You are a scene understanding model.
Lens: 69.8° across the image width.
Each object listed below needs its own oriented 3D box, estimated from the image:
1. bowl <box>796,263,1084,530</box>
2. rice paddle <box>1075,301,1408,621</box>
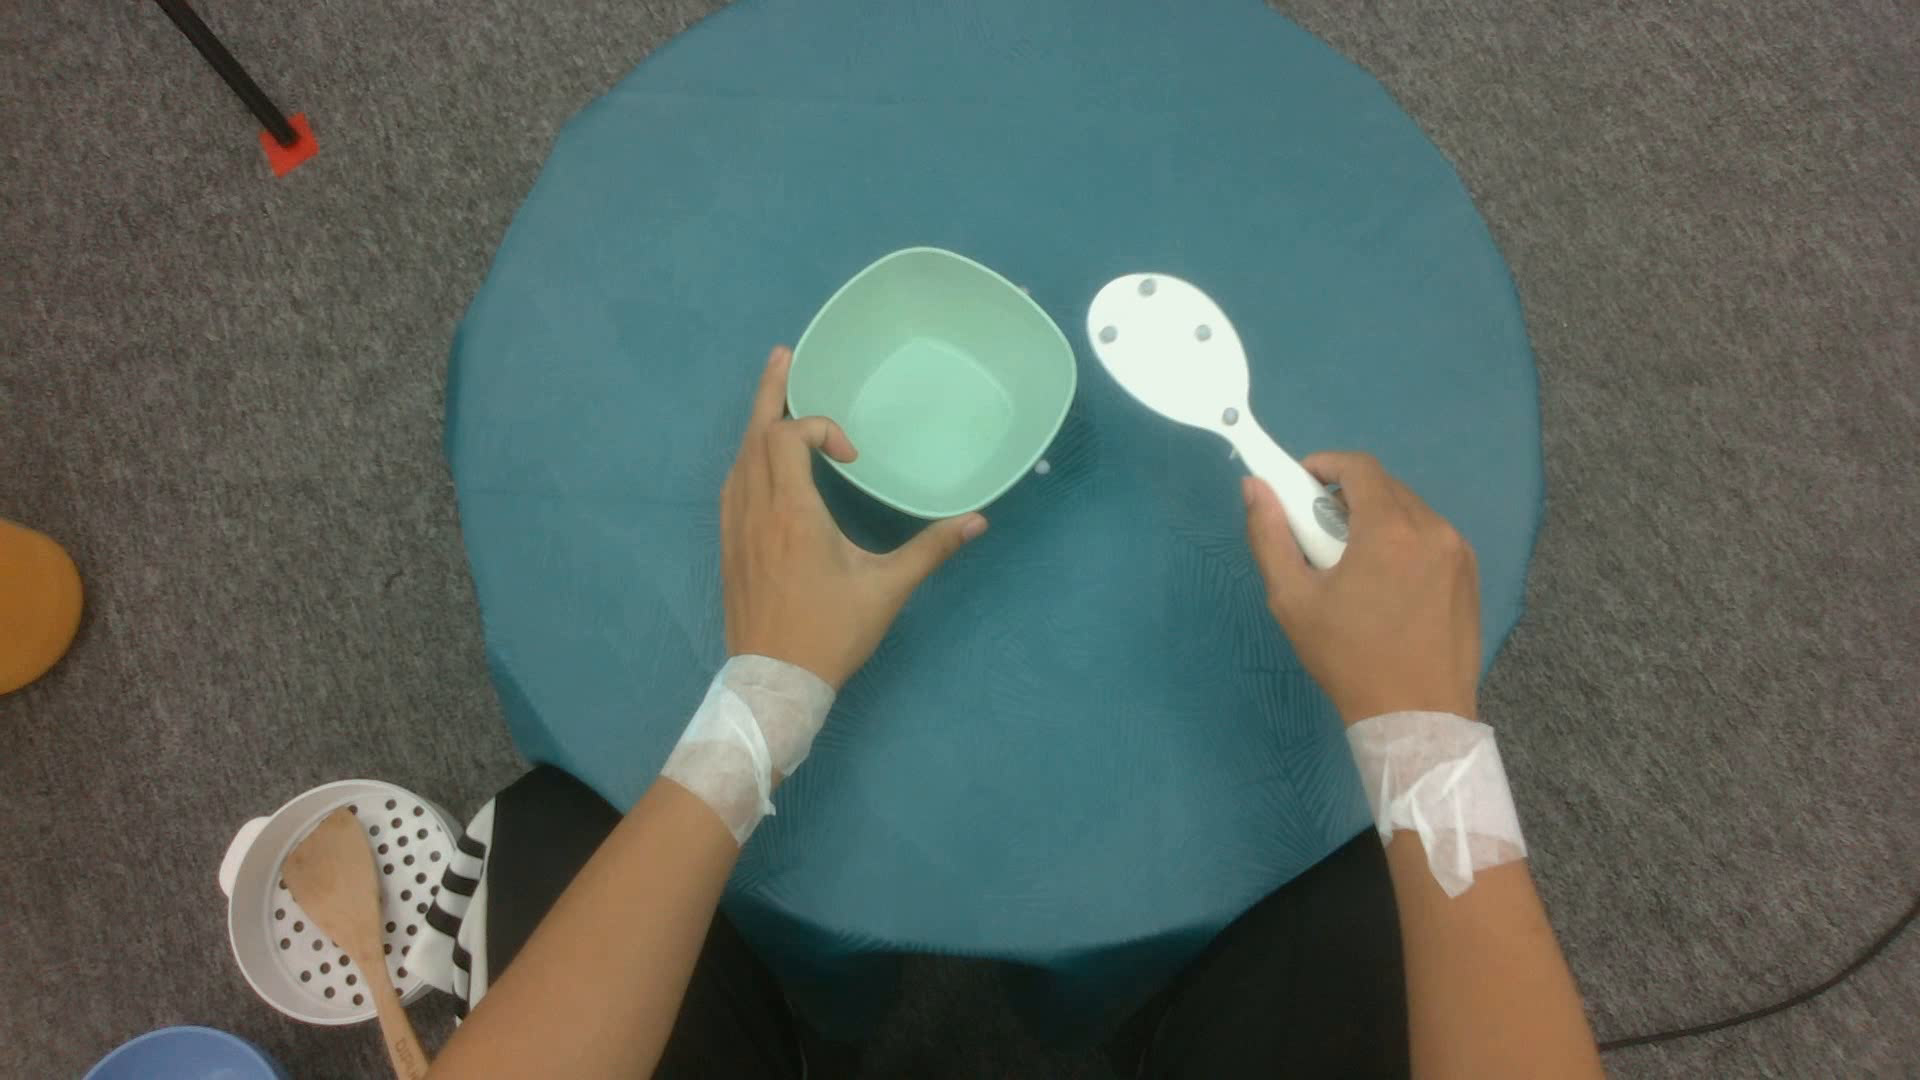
[{"bbox_3d":[-0.011,-0.070,0.747,0.151,0.058,0.152,1,72,-2],"label":"bowl"},{"bbox_3d":[0.131,-0.046,0.664,0.069,0.029,0.205,-33,68,-19],"label":"rice paddle"}]
